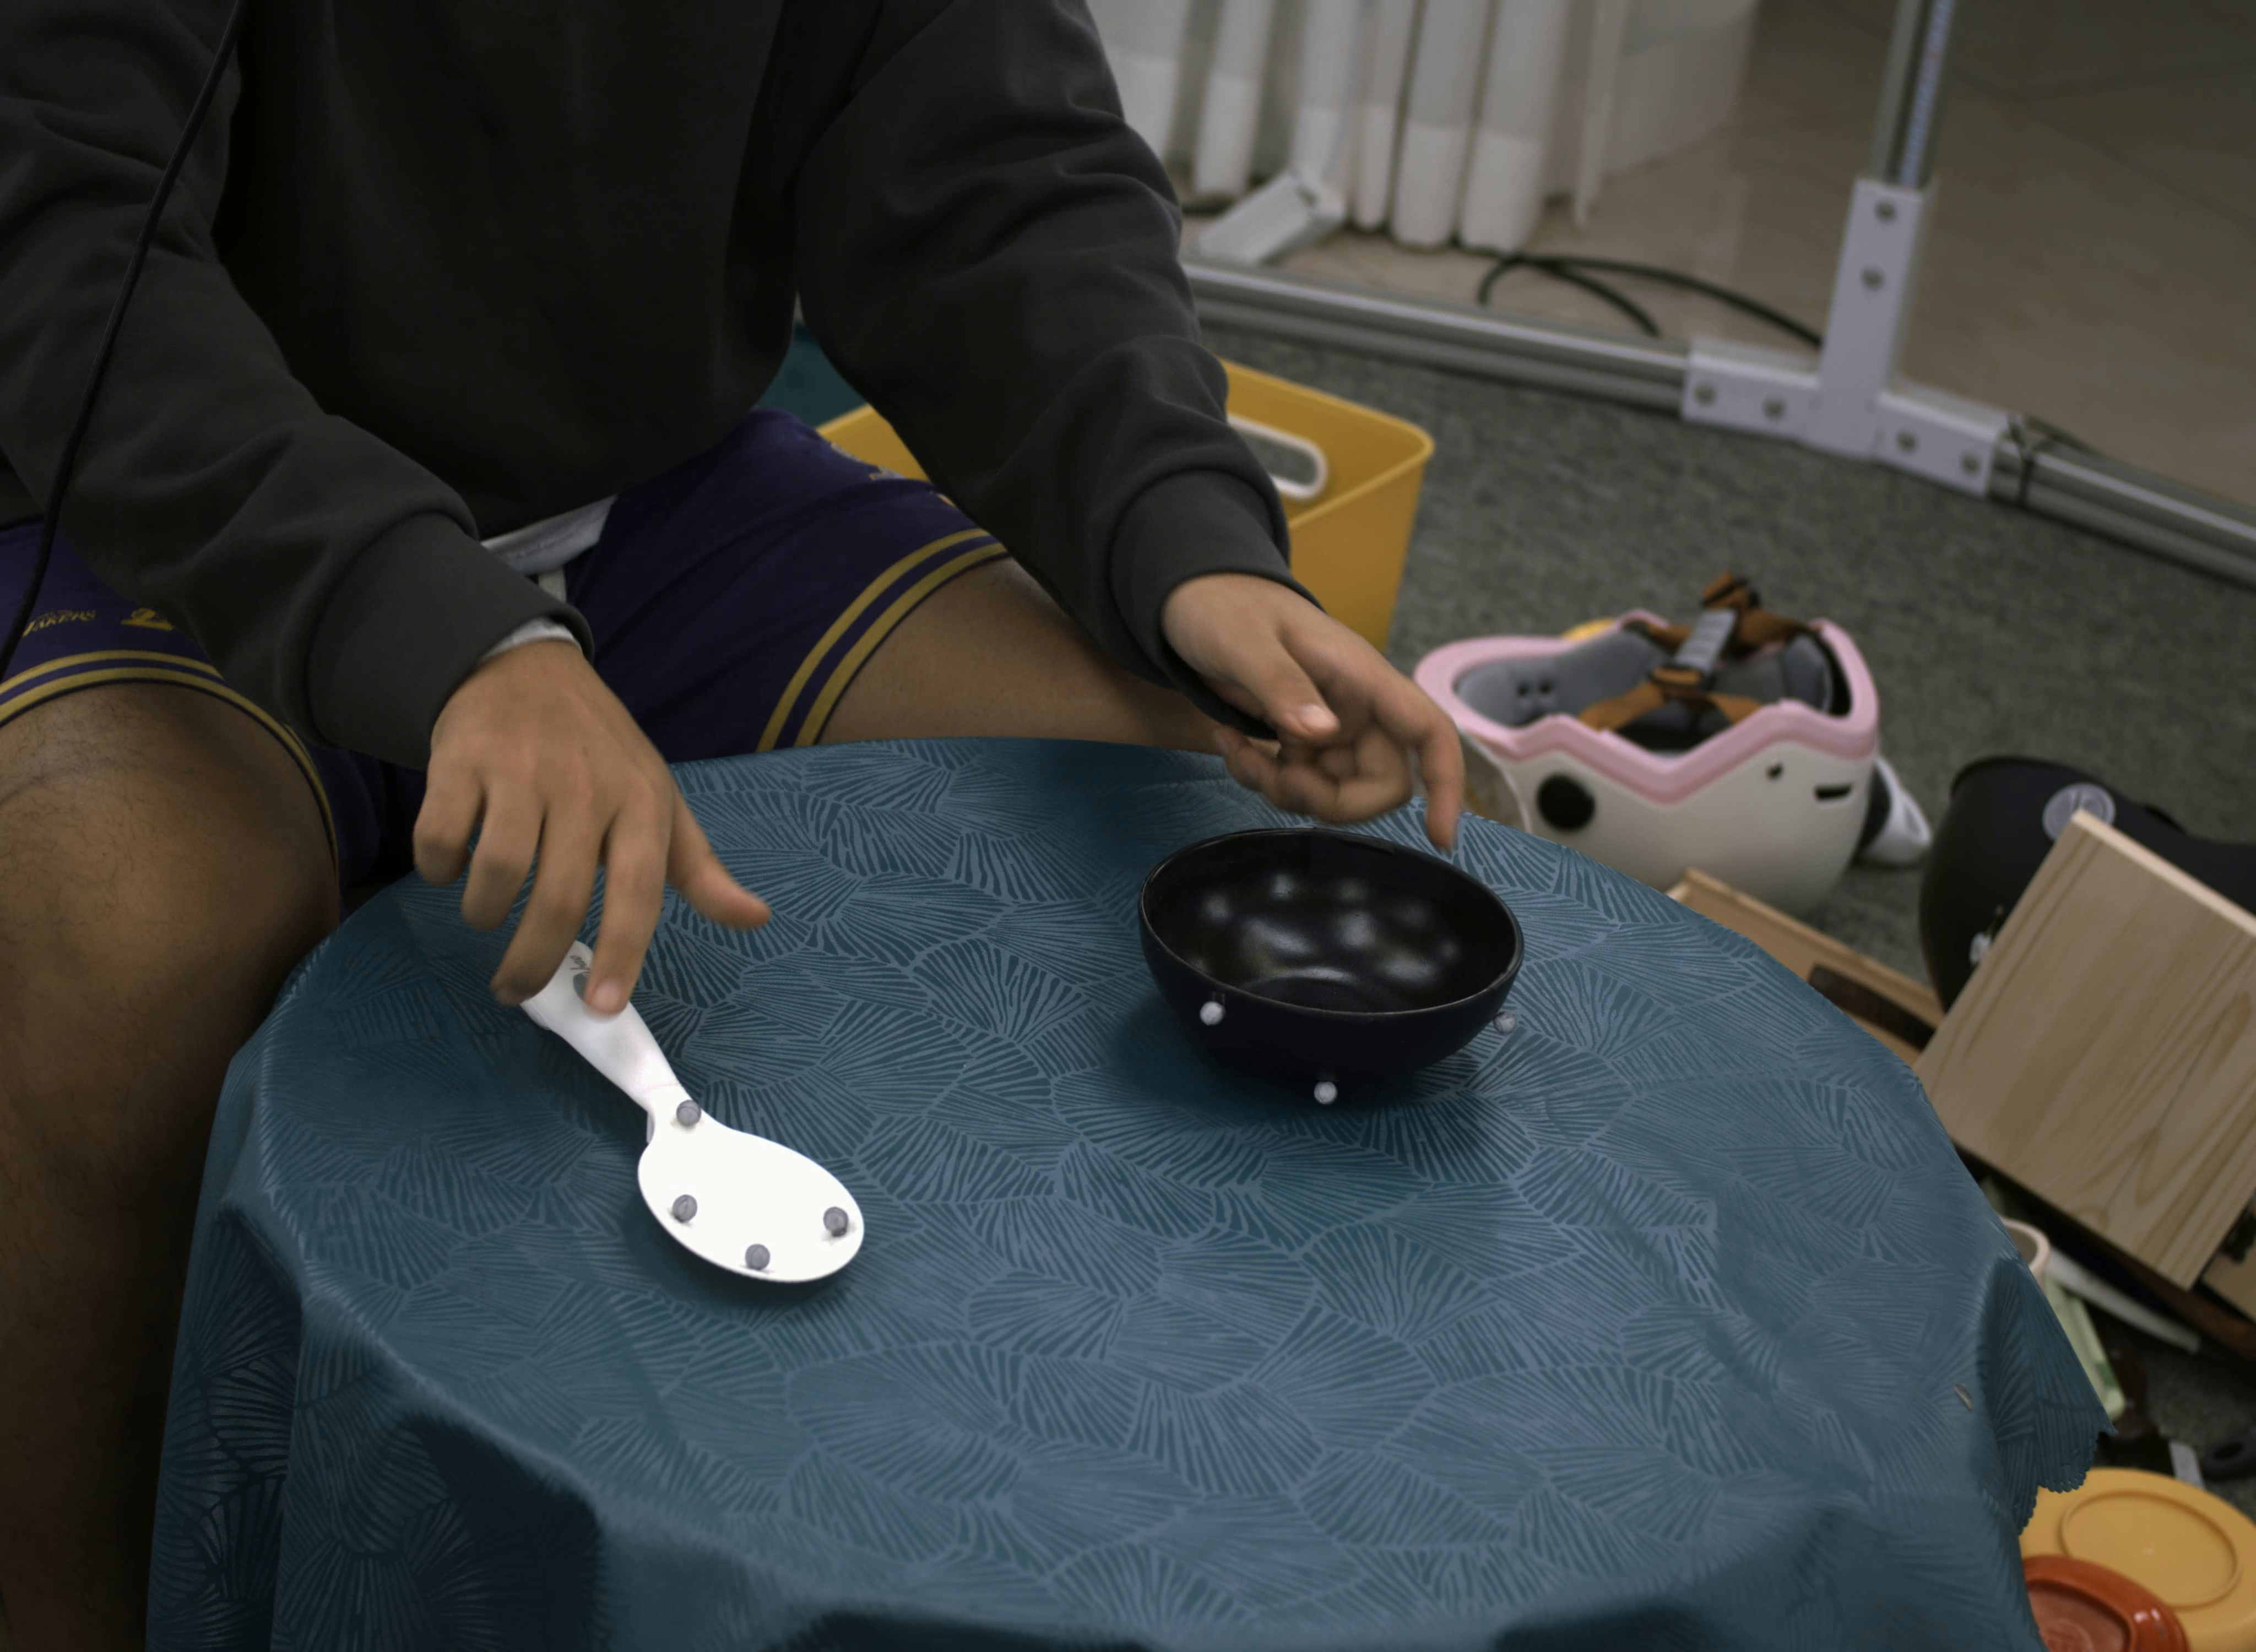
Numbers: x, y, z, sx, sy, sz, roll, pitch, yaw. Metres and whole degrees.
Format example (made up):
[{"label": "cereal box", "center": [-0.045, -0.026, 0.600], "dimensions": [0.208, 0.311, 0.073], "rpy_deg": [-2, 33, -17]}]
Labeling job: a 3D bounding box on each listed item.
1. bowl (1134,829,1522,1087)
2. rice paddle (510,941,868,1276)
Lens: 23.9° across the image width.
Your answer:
[{"label": "bowl", "center": [0.069, 0.055, 1.900], "dimensions": [0.139, 0.049, 0.141], "rpy_deg": [4, 27, -2]}, {"label": "rice paddle", "center": [-0.151, 0.097, 1.787], "dimensions": [0.068, 0.029, 0.207], "rpy_deg": [-8, 30, -29]}]
